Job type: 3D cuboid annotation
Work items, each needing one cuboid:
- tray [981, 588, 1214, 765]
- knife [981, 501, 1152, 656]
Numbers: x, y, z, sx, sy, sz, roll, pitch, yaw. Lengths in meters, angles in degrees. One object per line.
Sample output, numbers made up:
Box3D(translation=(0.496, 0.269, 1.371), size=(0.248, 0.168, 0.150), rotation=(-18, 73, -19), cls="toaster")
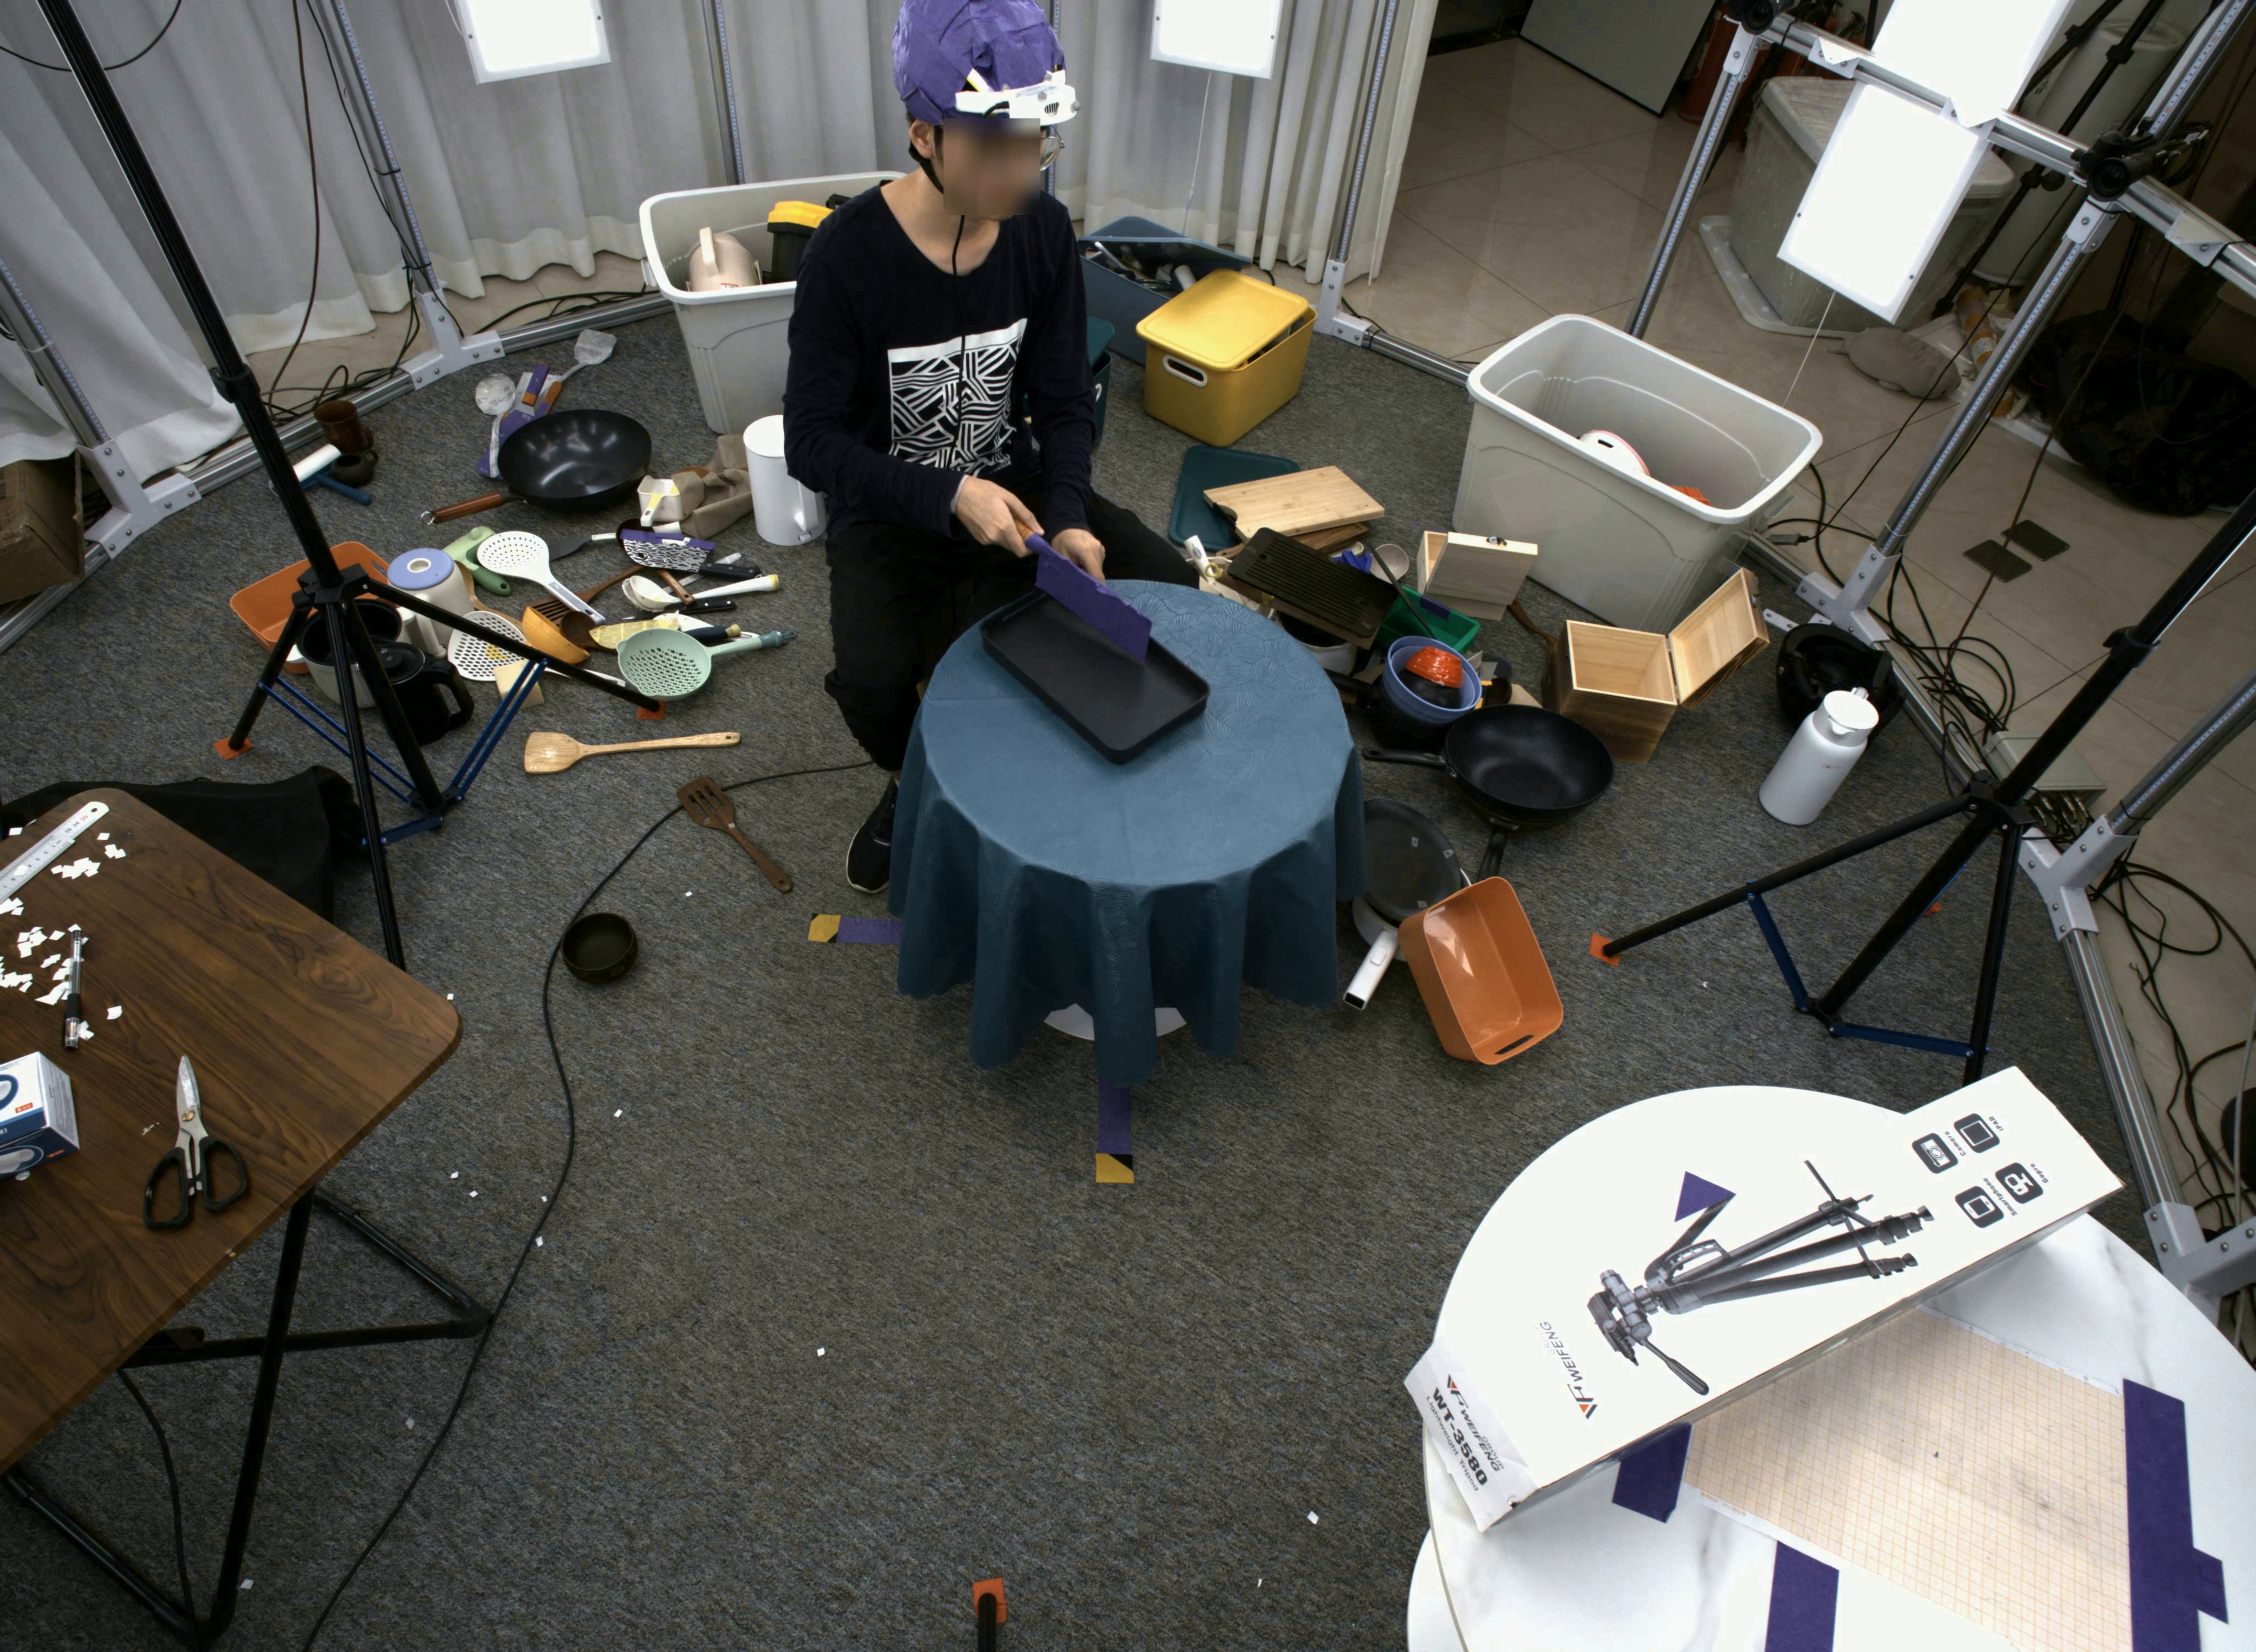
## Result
Box3D(translation=(-0.046, -0.227, 1.828), size=(0.186, 0.036, 0.323), rotation=(-36, 60, -24), cls="tray")
Box3D(translation=(-0.091, -0.351, 1.849), size=(0.319, 0.101, 0.032), rotation=(39, 58, 19), cls="knife")
